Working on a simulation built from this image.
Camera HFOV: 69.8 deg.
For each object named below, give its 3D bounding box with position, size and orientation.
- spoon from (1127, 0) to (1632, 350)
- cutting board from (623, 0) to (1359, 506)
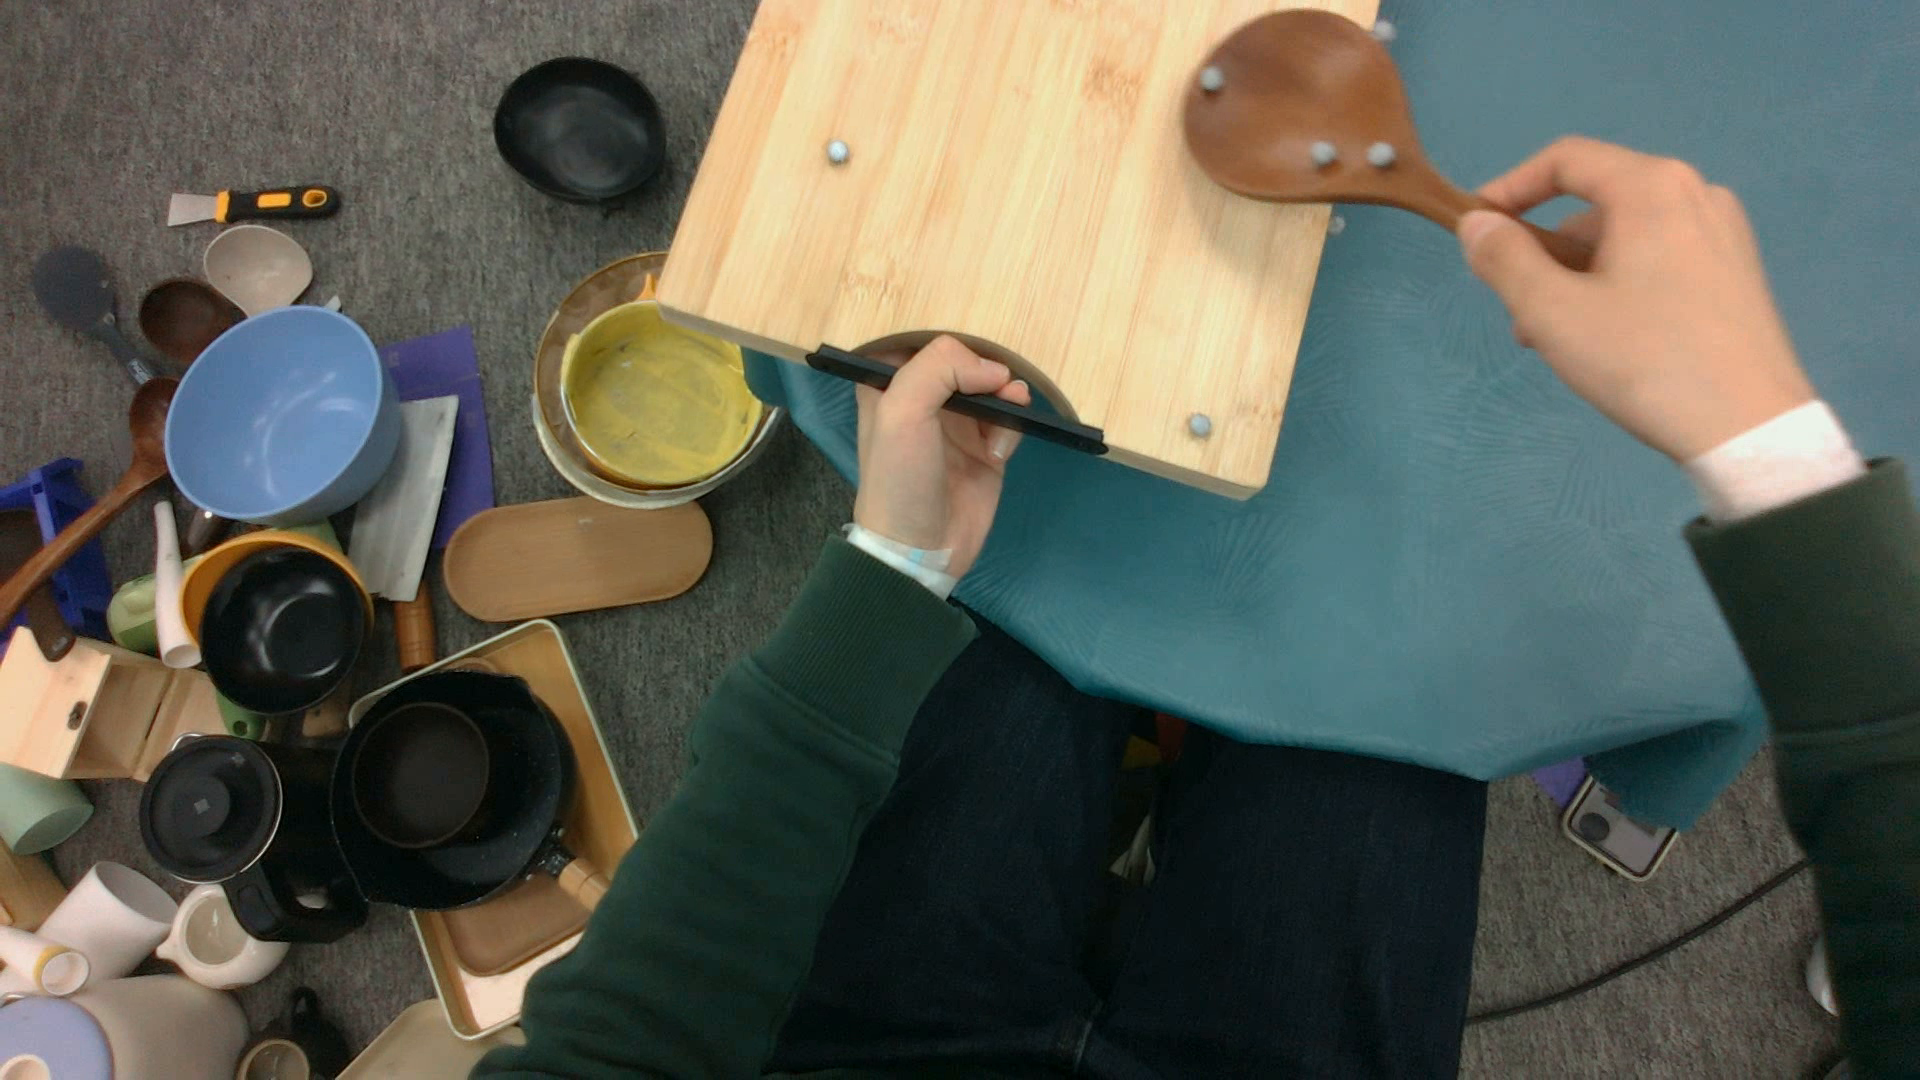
[{"bbox_3d":[0.141,-0.130,0.483,0.075,0.017,0.216,-46,56,4],"label":"spoon"},{"bbox_3d":[0.036,-0.207,0.567,0.251,0.023,0.349,16,74,-3],"label":"cutting board"}]
